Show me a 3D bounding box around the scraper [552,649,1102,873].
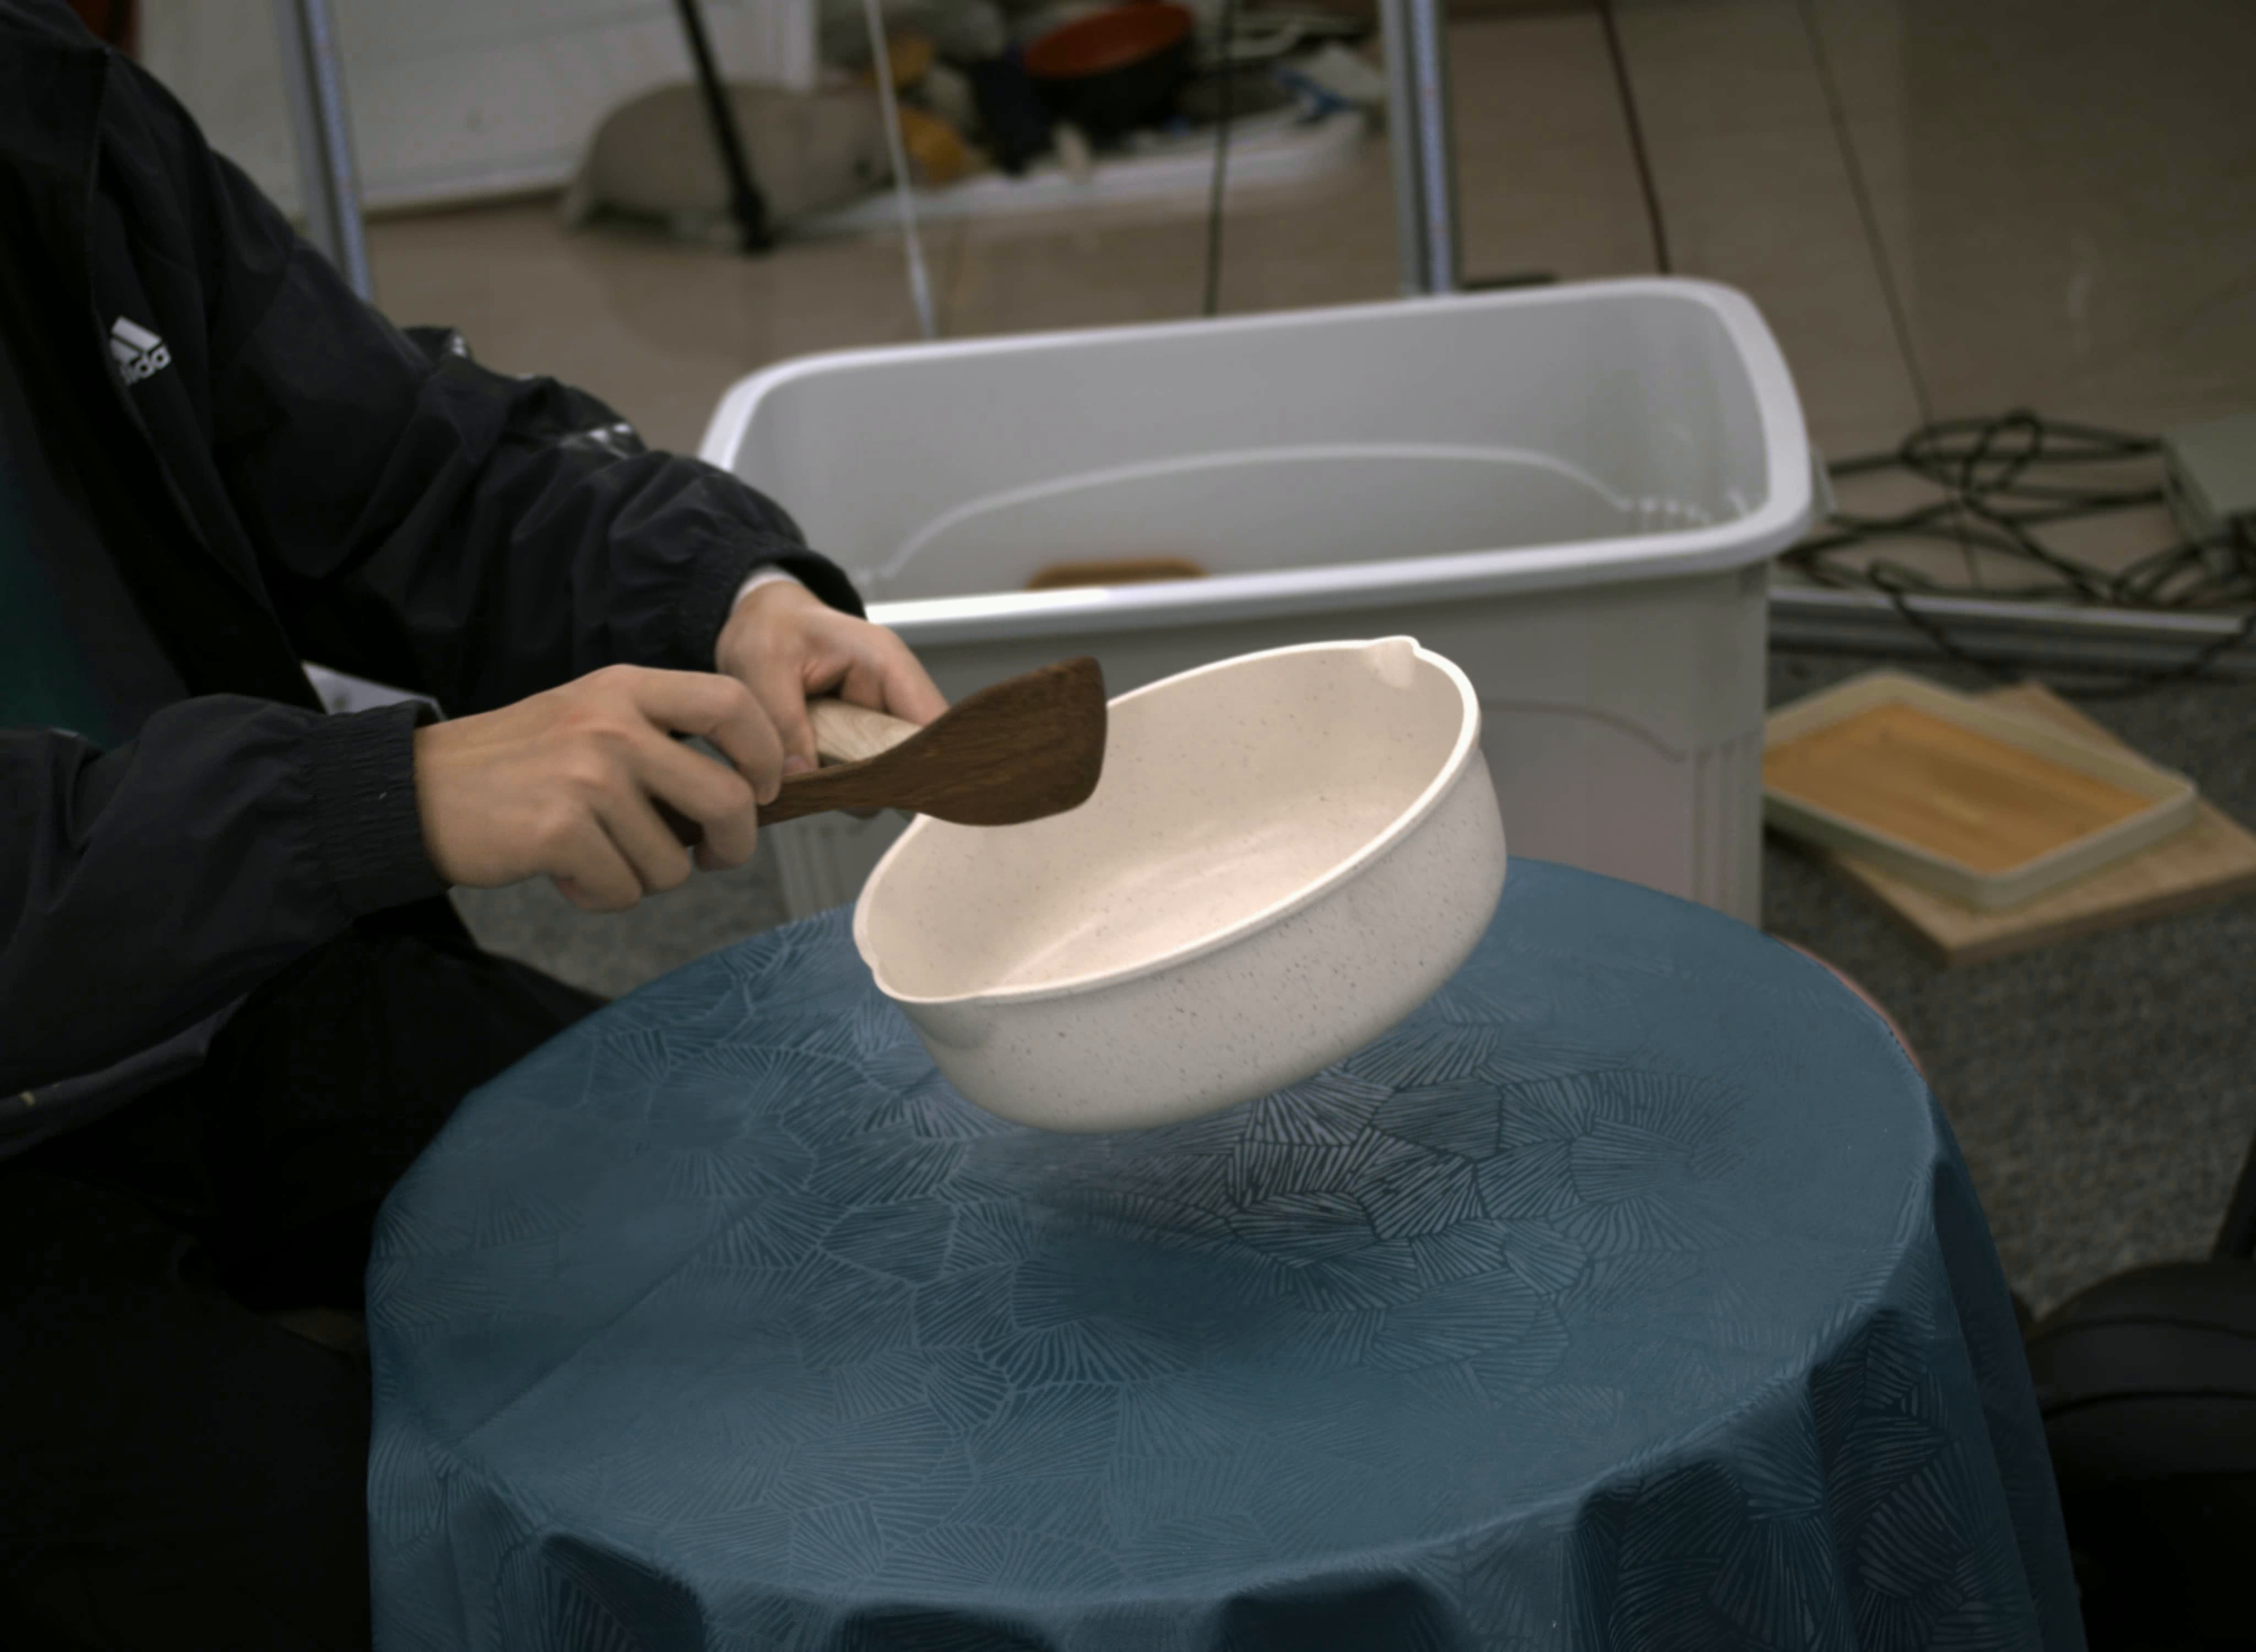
[{"bbox_3d":[-0.109,-0.015,2.084,0.210,0.077,0.010,-13,45,-11],"label":"scraper"}]

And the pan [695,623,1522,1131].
[{"bbox_3d":[-0.025,0.010,2.203,0.261,0.103,0.432,-38,27,-26],"label":"pan"}]
